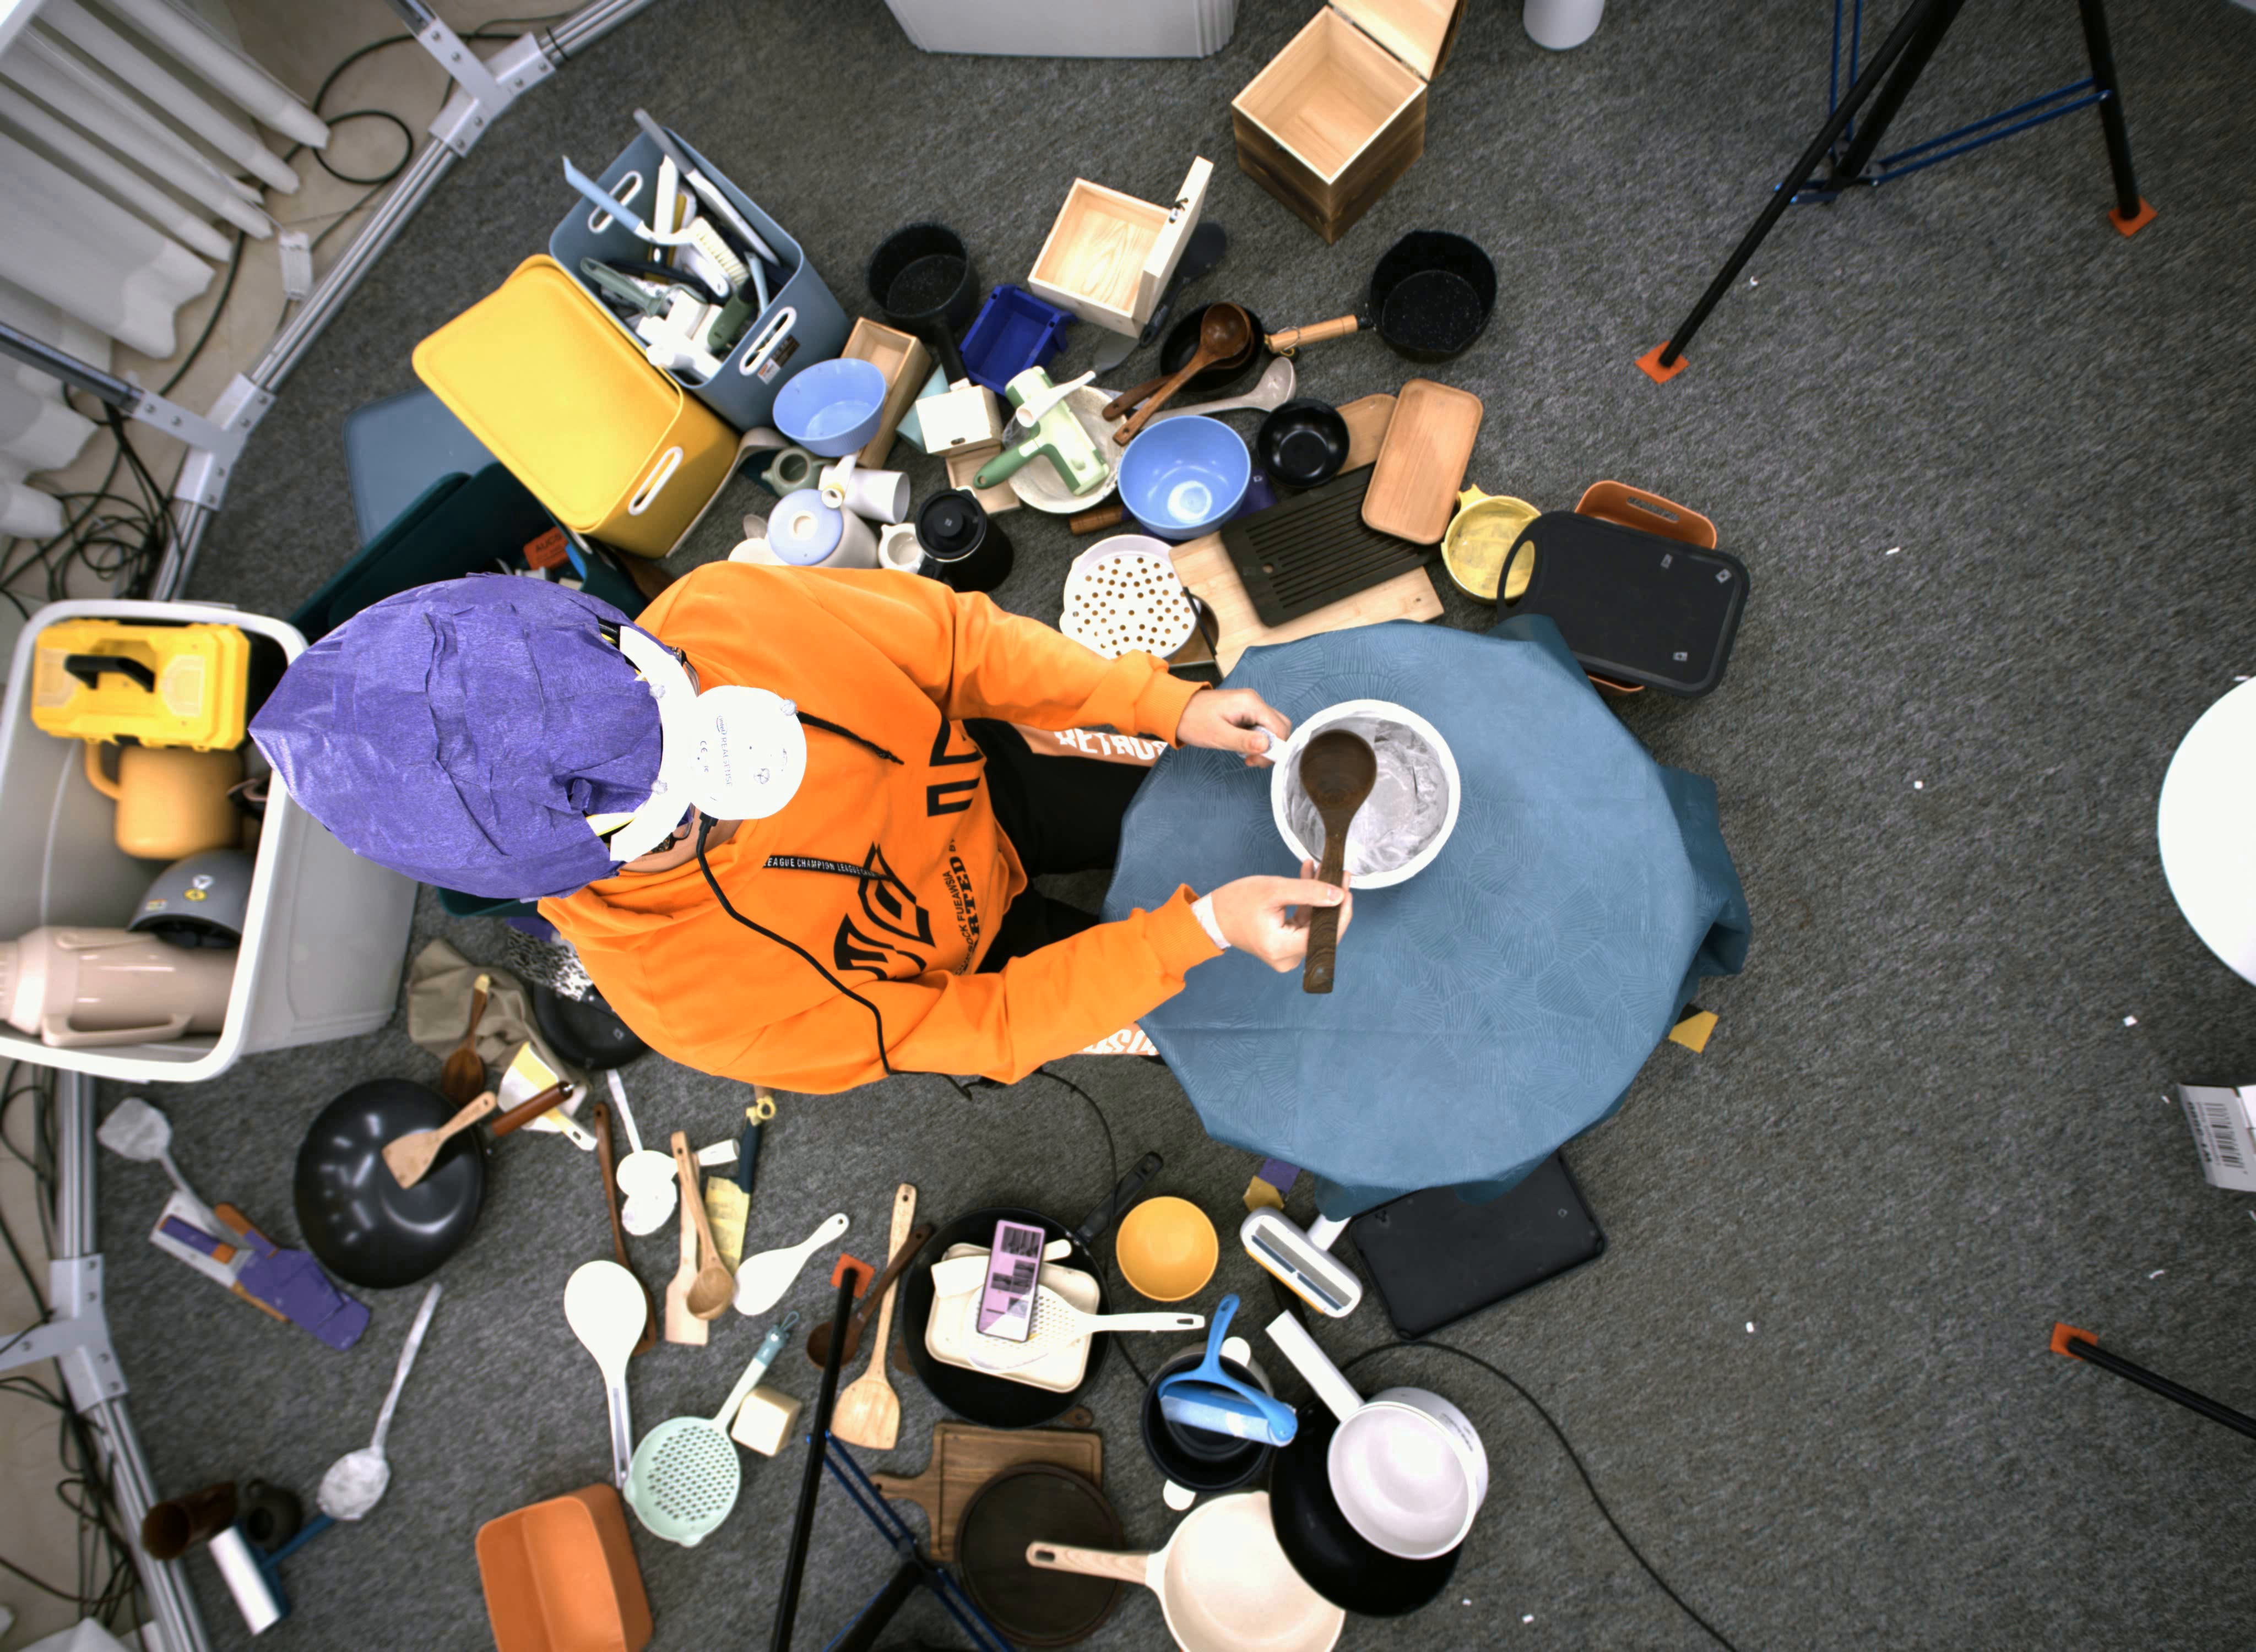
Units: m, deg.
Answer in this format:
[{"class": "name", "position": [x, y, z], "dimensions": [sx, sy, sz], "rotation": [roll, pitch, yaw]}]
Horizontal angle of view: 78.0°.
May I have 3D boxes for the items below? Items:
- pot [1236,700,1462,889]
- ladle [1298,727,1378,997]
[{"class": "pot", "position": [0.211, -0.040, 1.364], "dimensions": [0.233, 0.136, 0.179], "rotation": [27, 93, 11]}, {"class": "ladle", "position": [0.178, 0.022, 1.234], "dimensions": [0.076, 0.073, 0.266], "rotation": [-2, 46, 19]}]
